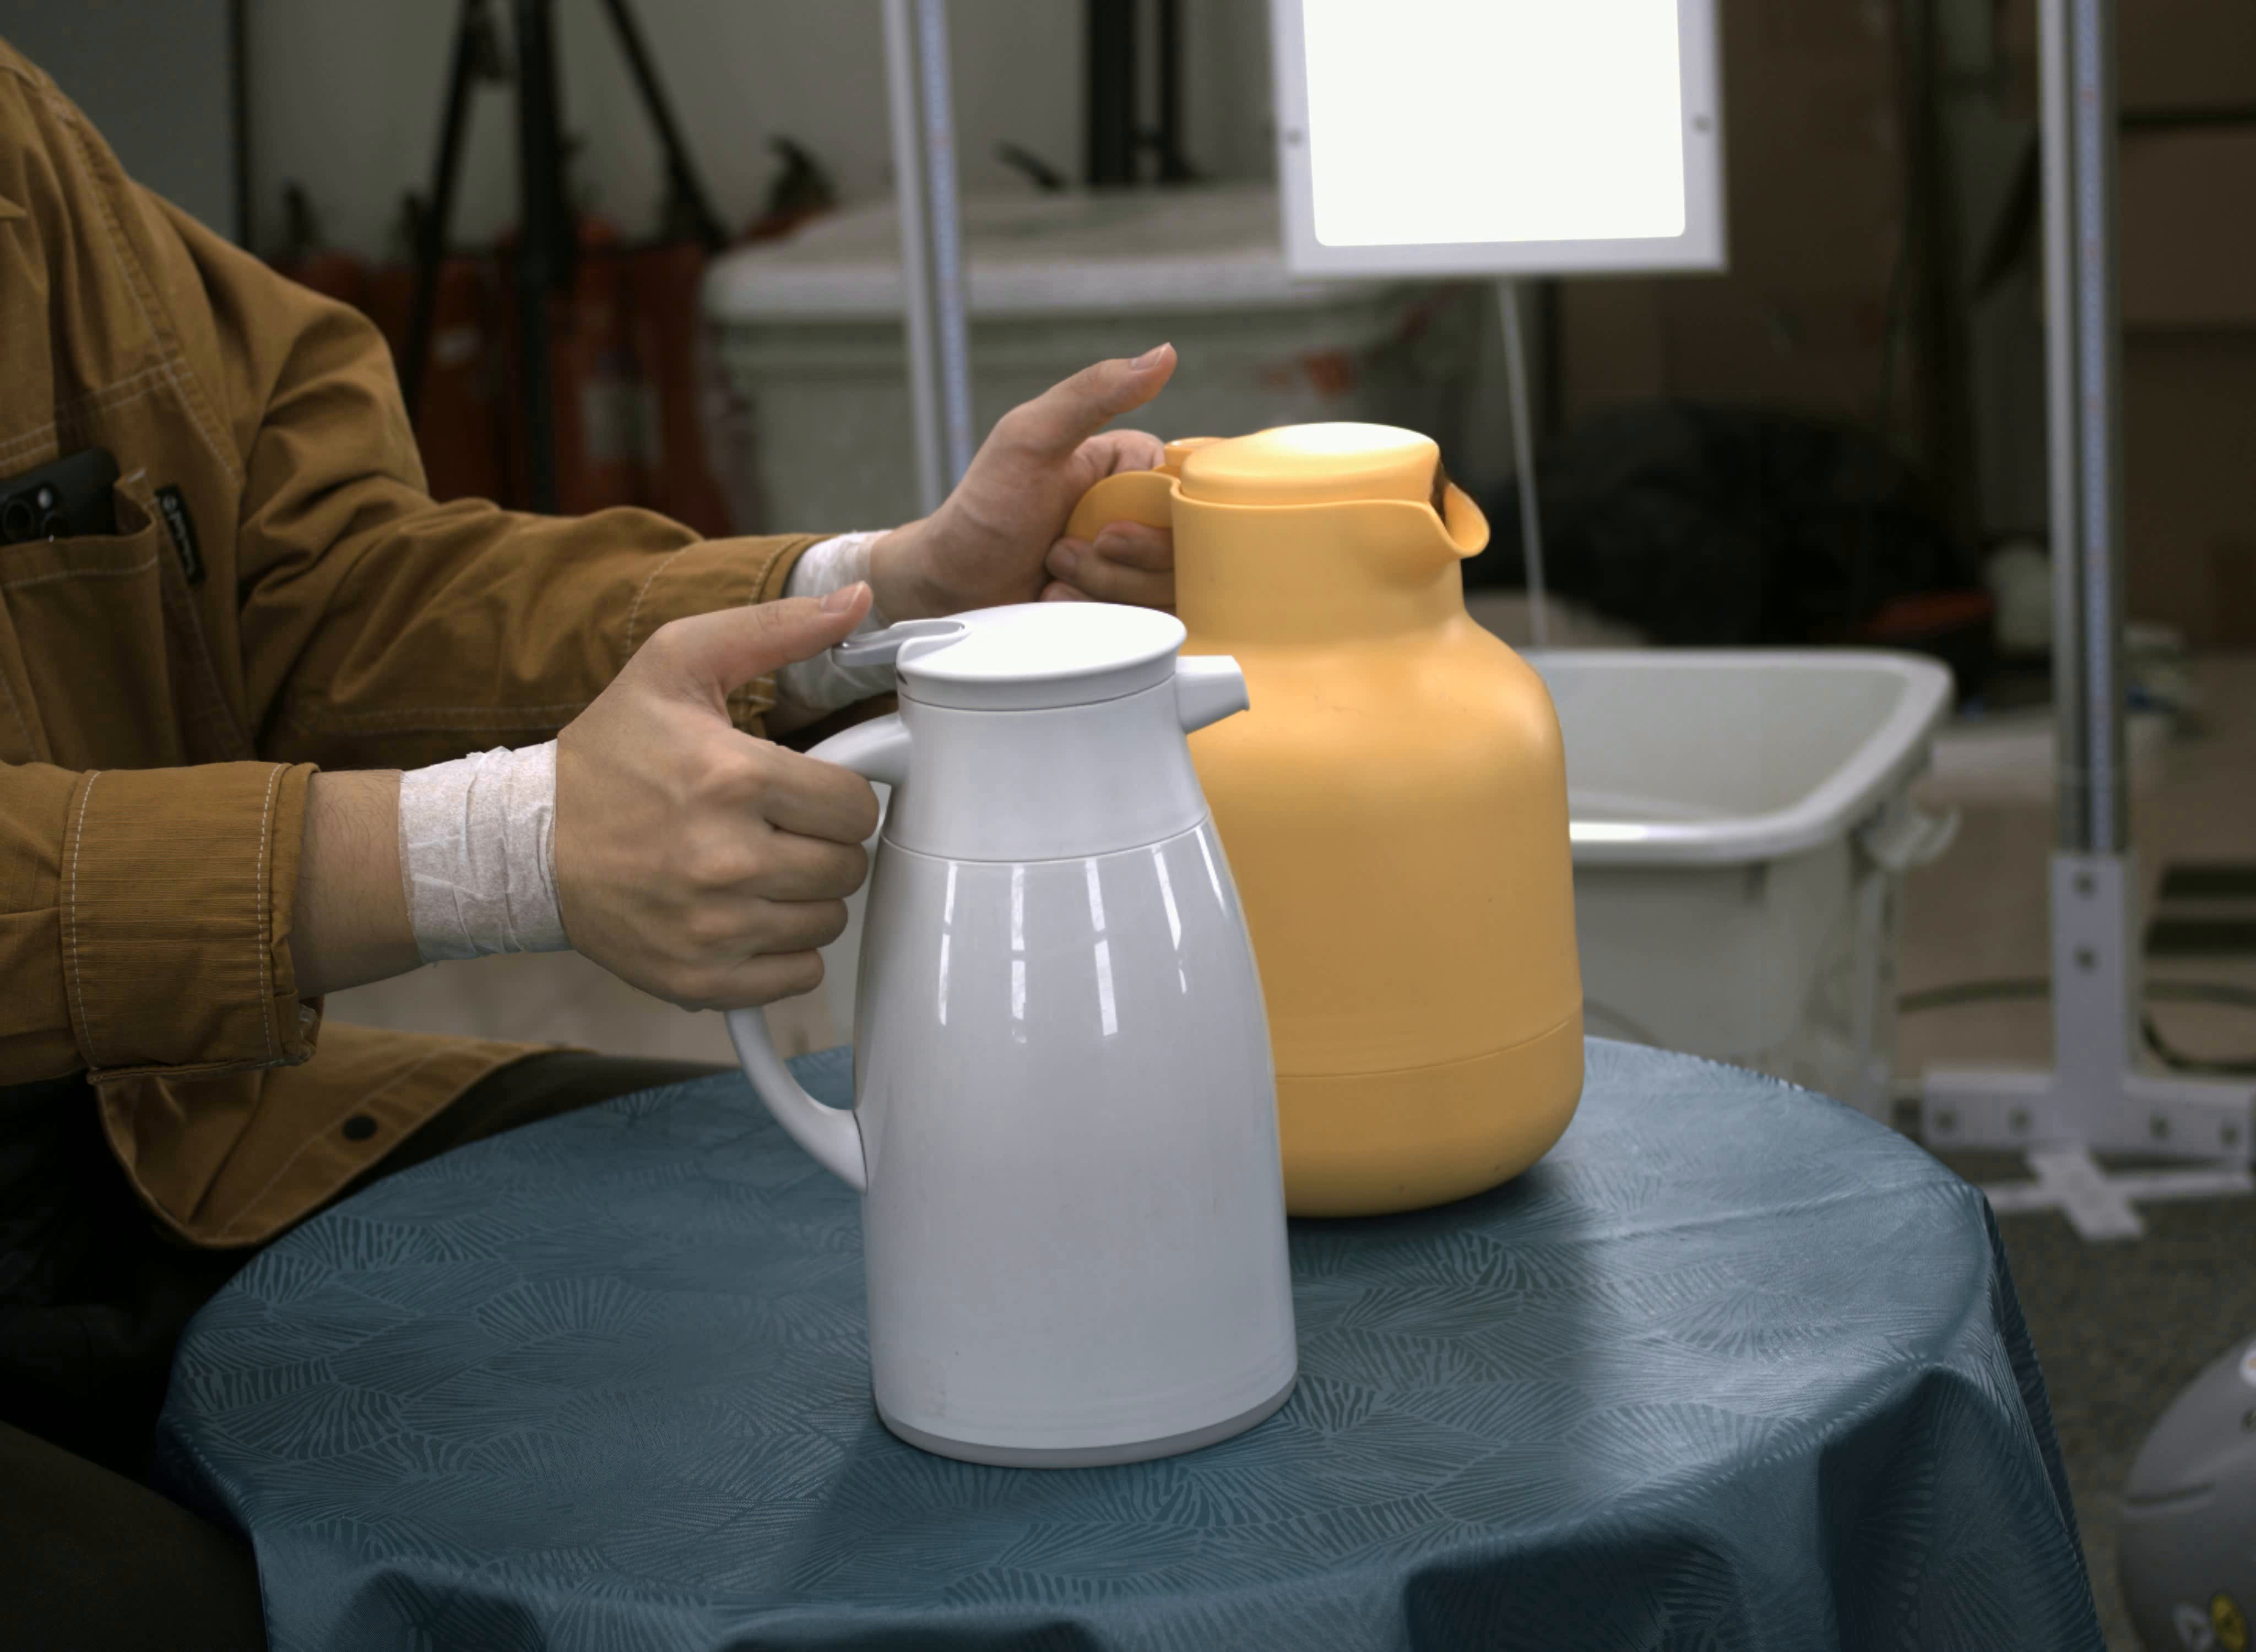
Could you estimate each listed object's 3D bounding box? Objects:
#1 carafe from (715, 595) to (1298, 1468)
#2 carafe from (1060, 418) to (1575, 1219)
[{"bbox_3d":[-0.039,0.058,1.667,0.166,0.249,0.133,-6,15,-6],"label":"carafe"},{"bbox_3d":[0.057,-0.010,1.884,0.159,0.261,0.206,-14,18,-38],"label":"carafe"}]
